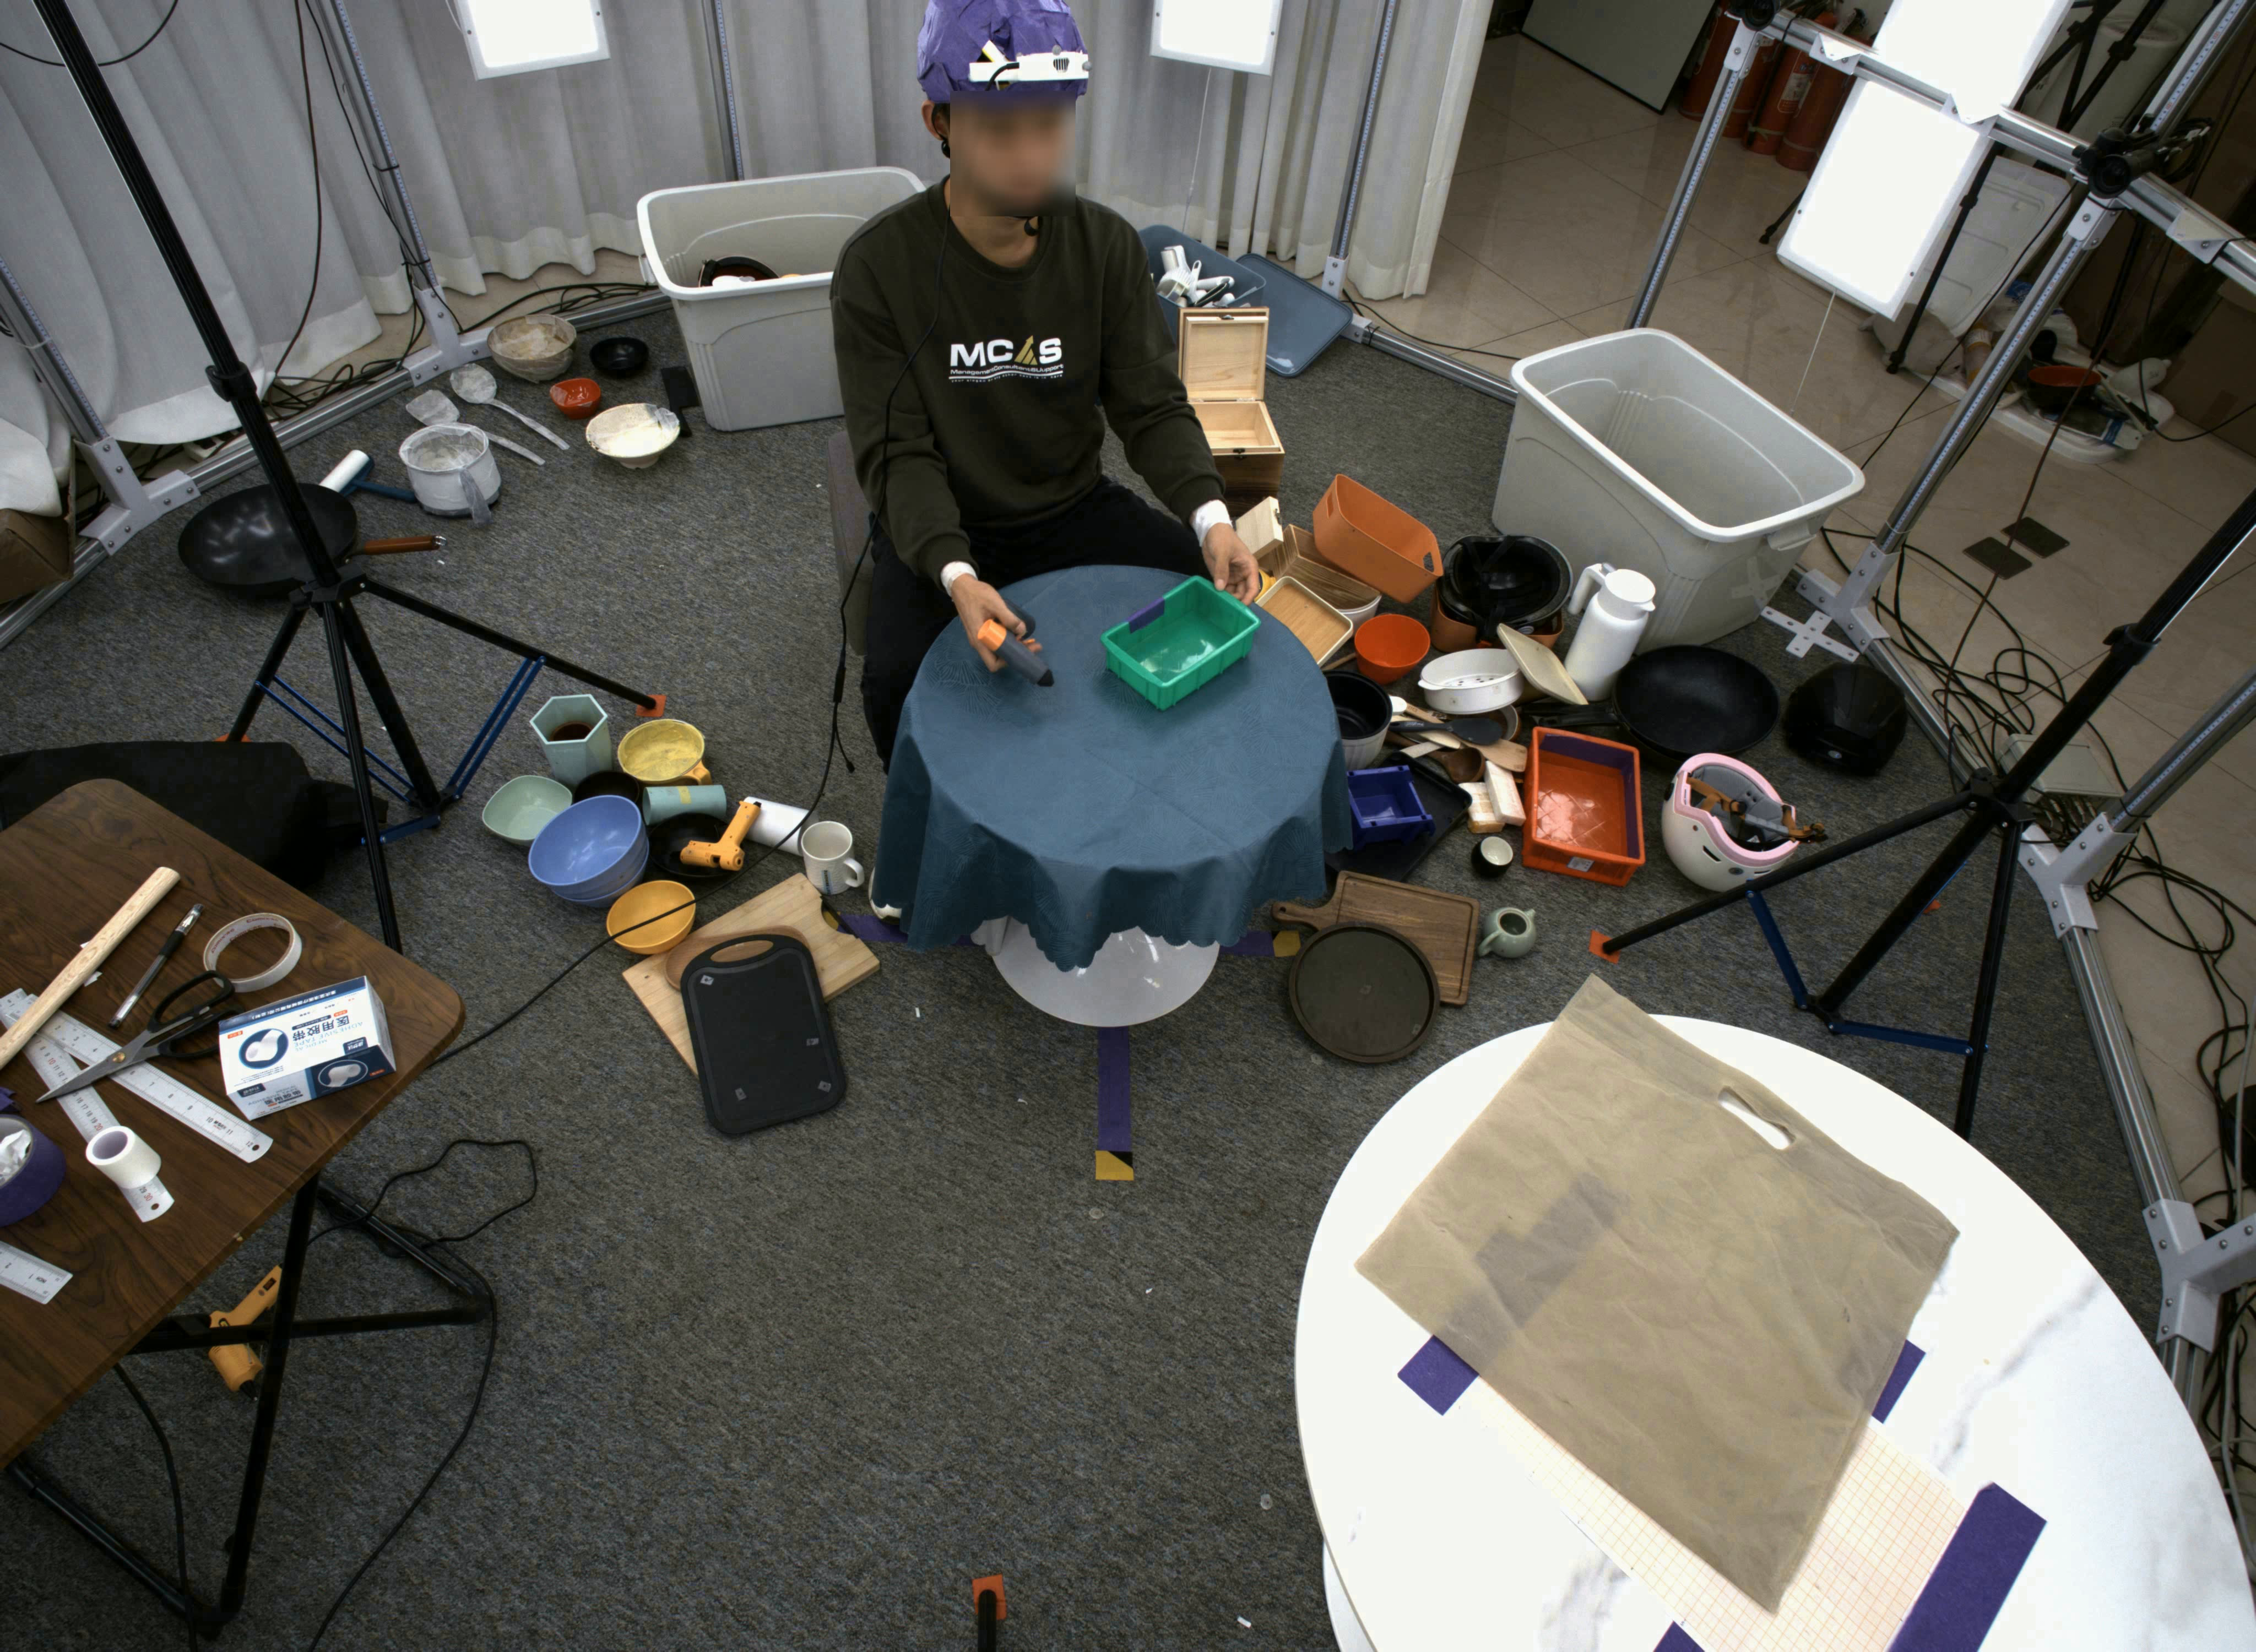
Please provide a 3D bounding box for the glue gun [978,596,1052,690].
[{"bbox_3d":[-0.155,-0.255,1.791,0.116,0.040,0.143,36,24,-28],"label":"glue gun"}]

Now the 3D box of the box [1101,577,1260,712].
[{"bbox_3d":[0.075,-0.259,1.847,0.212,0.064,0.141,-37,60,-26],"label":"box"}]
